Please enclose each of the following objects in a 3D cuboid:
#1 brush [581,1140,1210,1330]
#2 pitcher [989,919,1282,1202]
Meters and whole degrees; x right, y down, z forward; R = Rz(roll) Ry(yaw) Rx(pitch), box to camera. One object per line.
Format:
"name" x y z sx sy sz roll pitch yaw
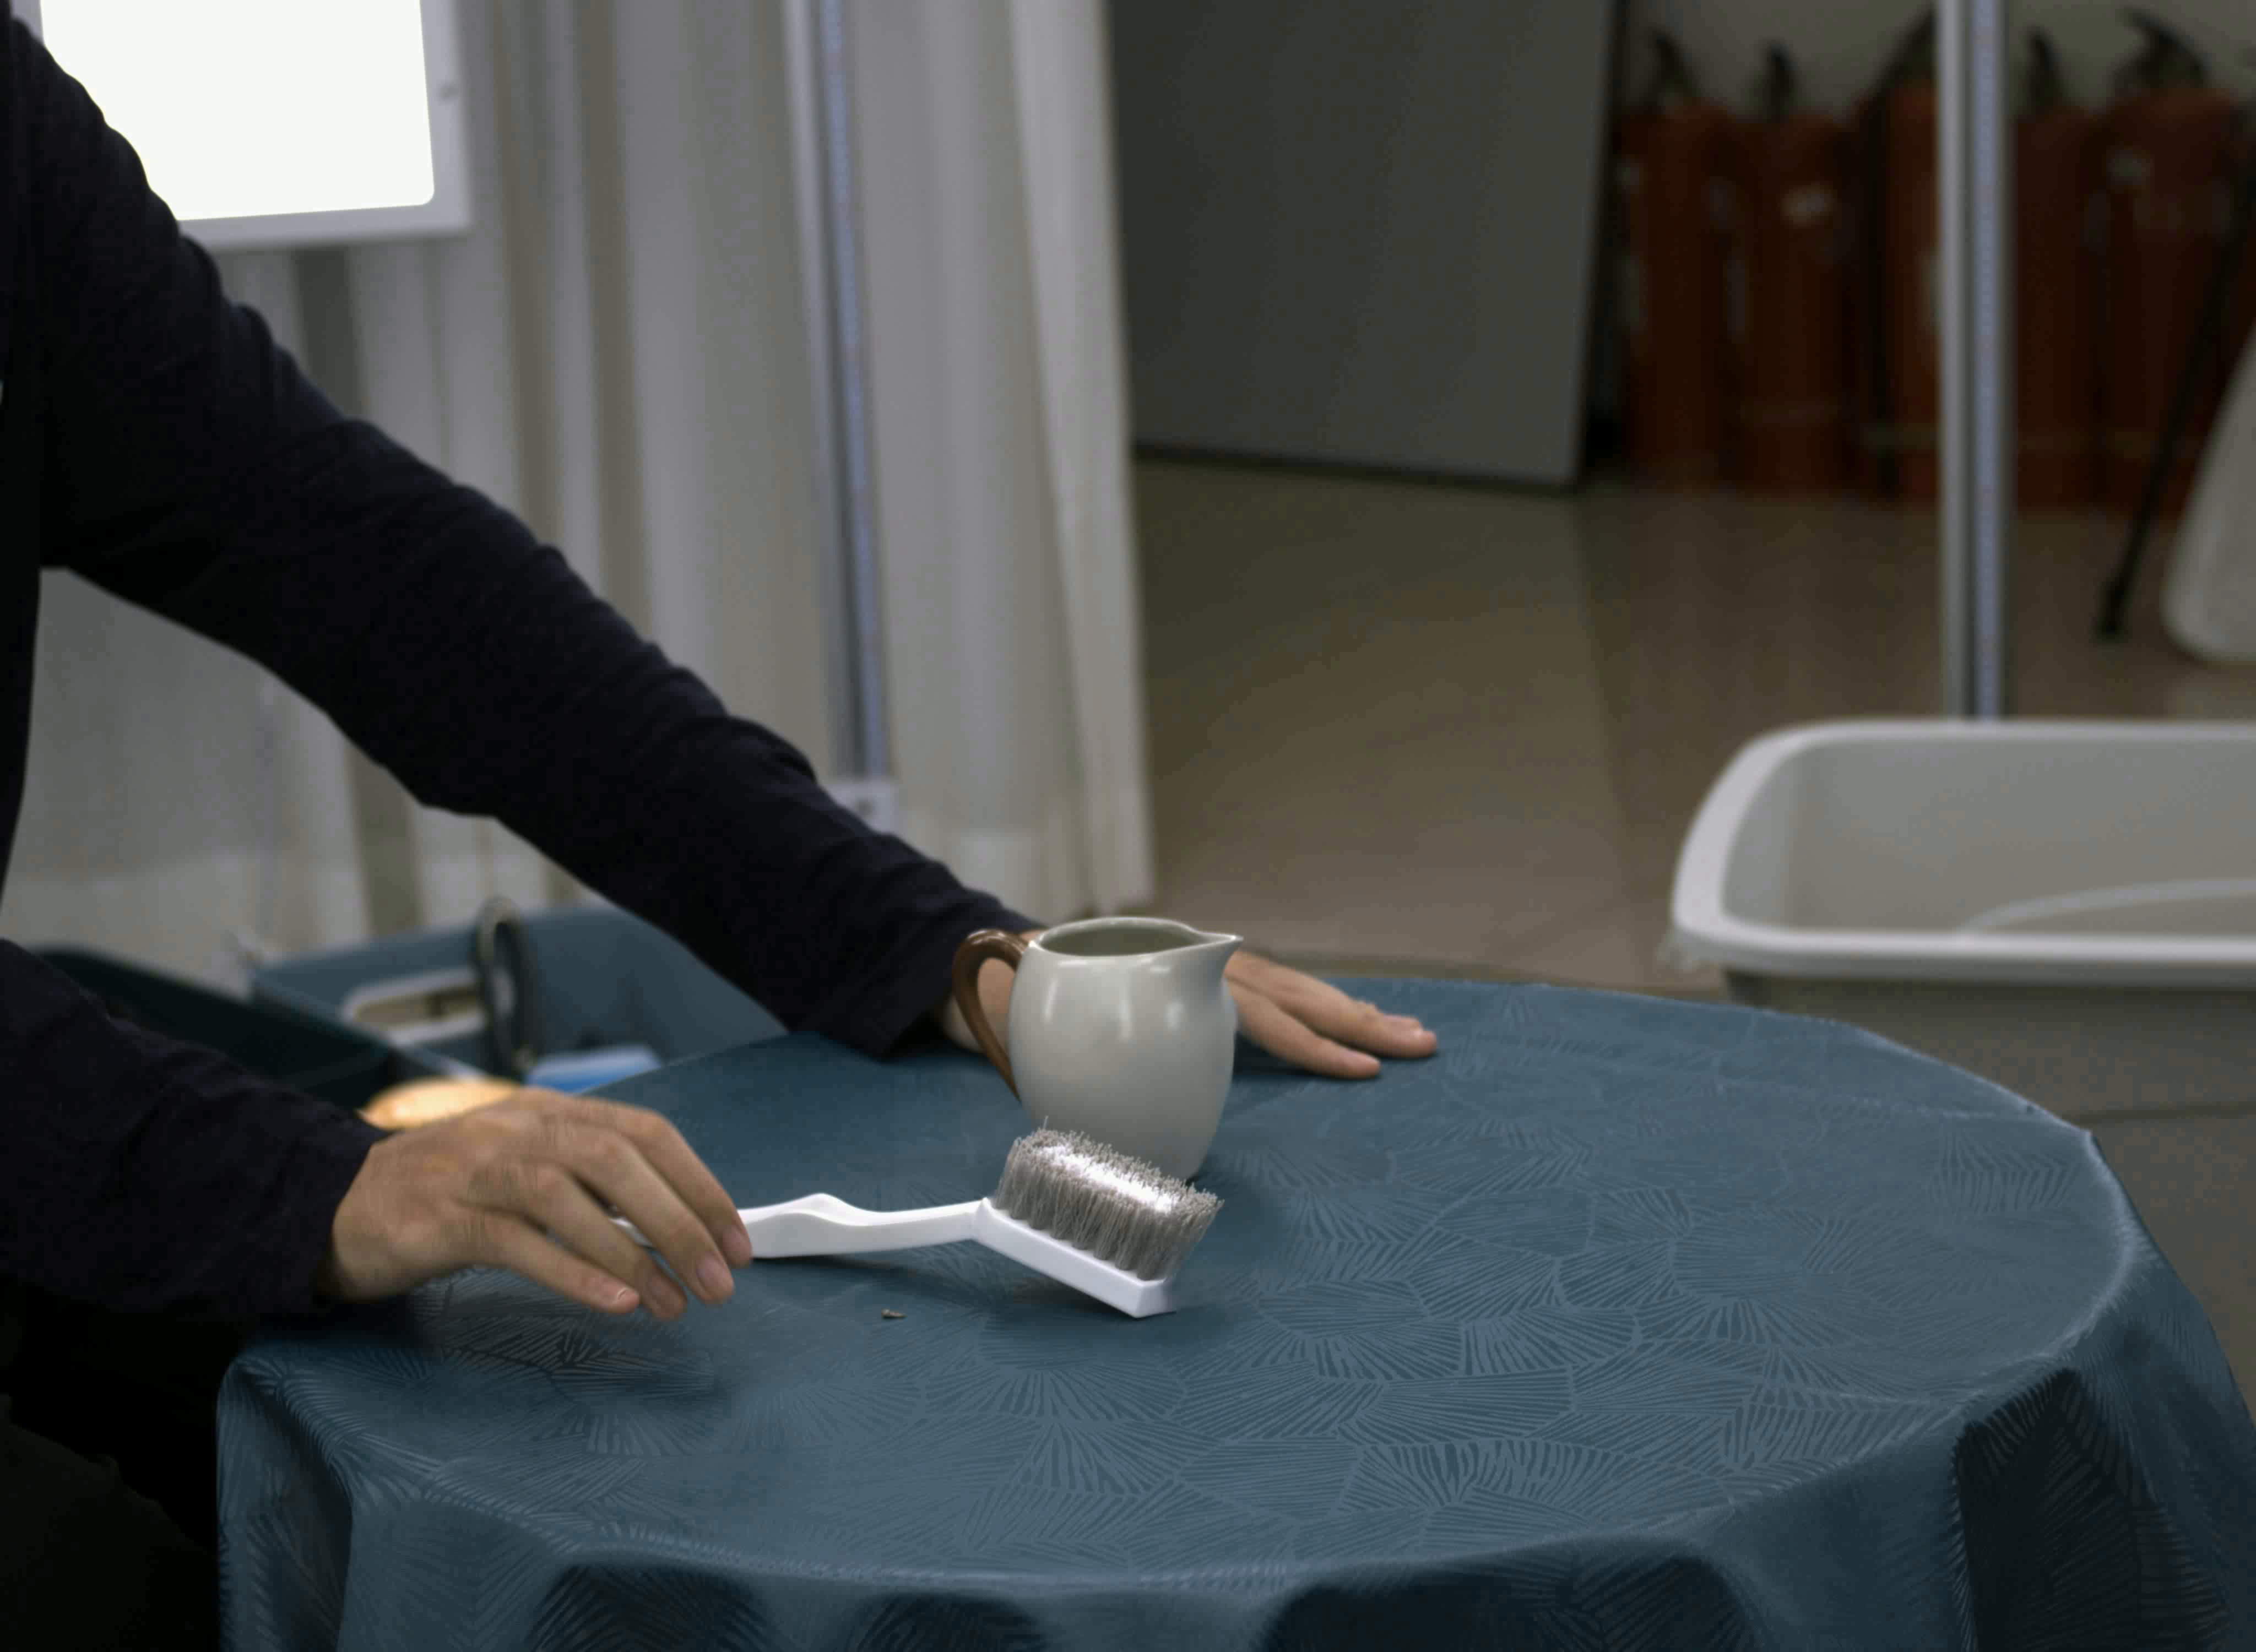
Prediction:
"brush" -0.079 0.118 1.713 0.245 0.051 0.034 6 21 35
"pitcher" 0.001 0.074 1.779 0.120 0.089 0.074 10 14 37
